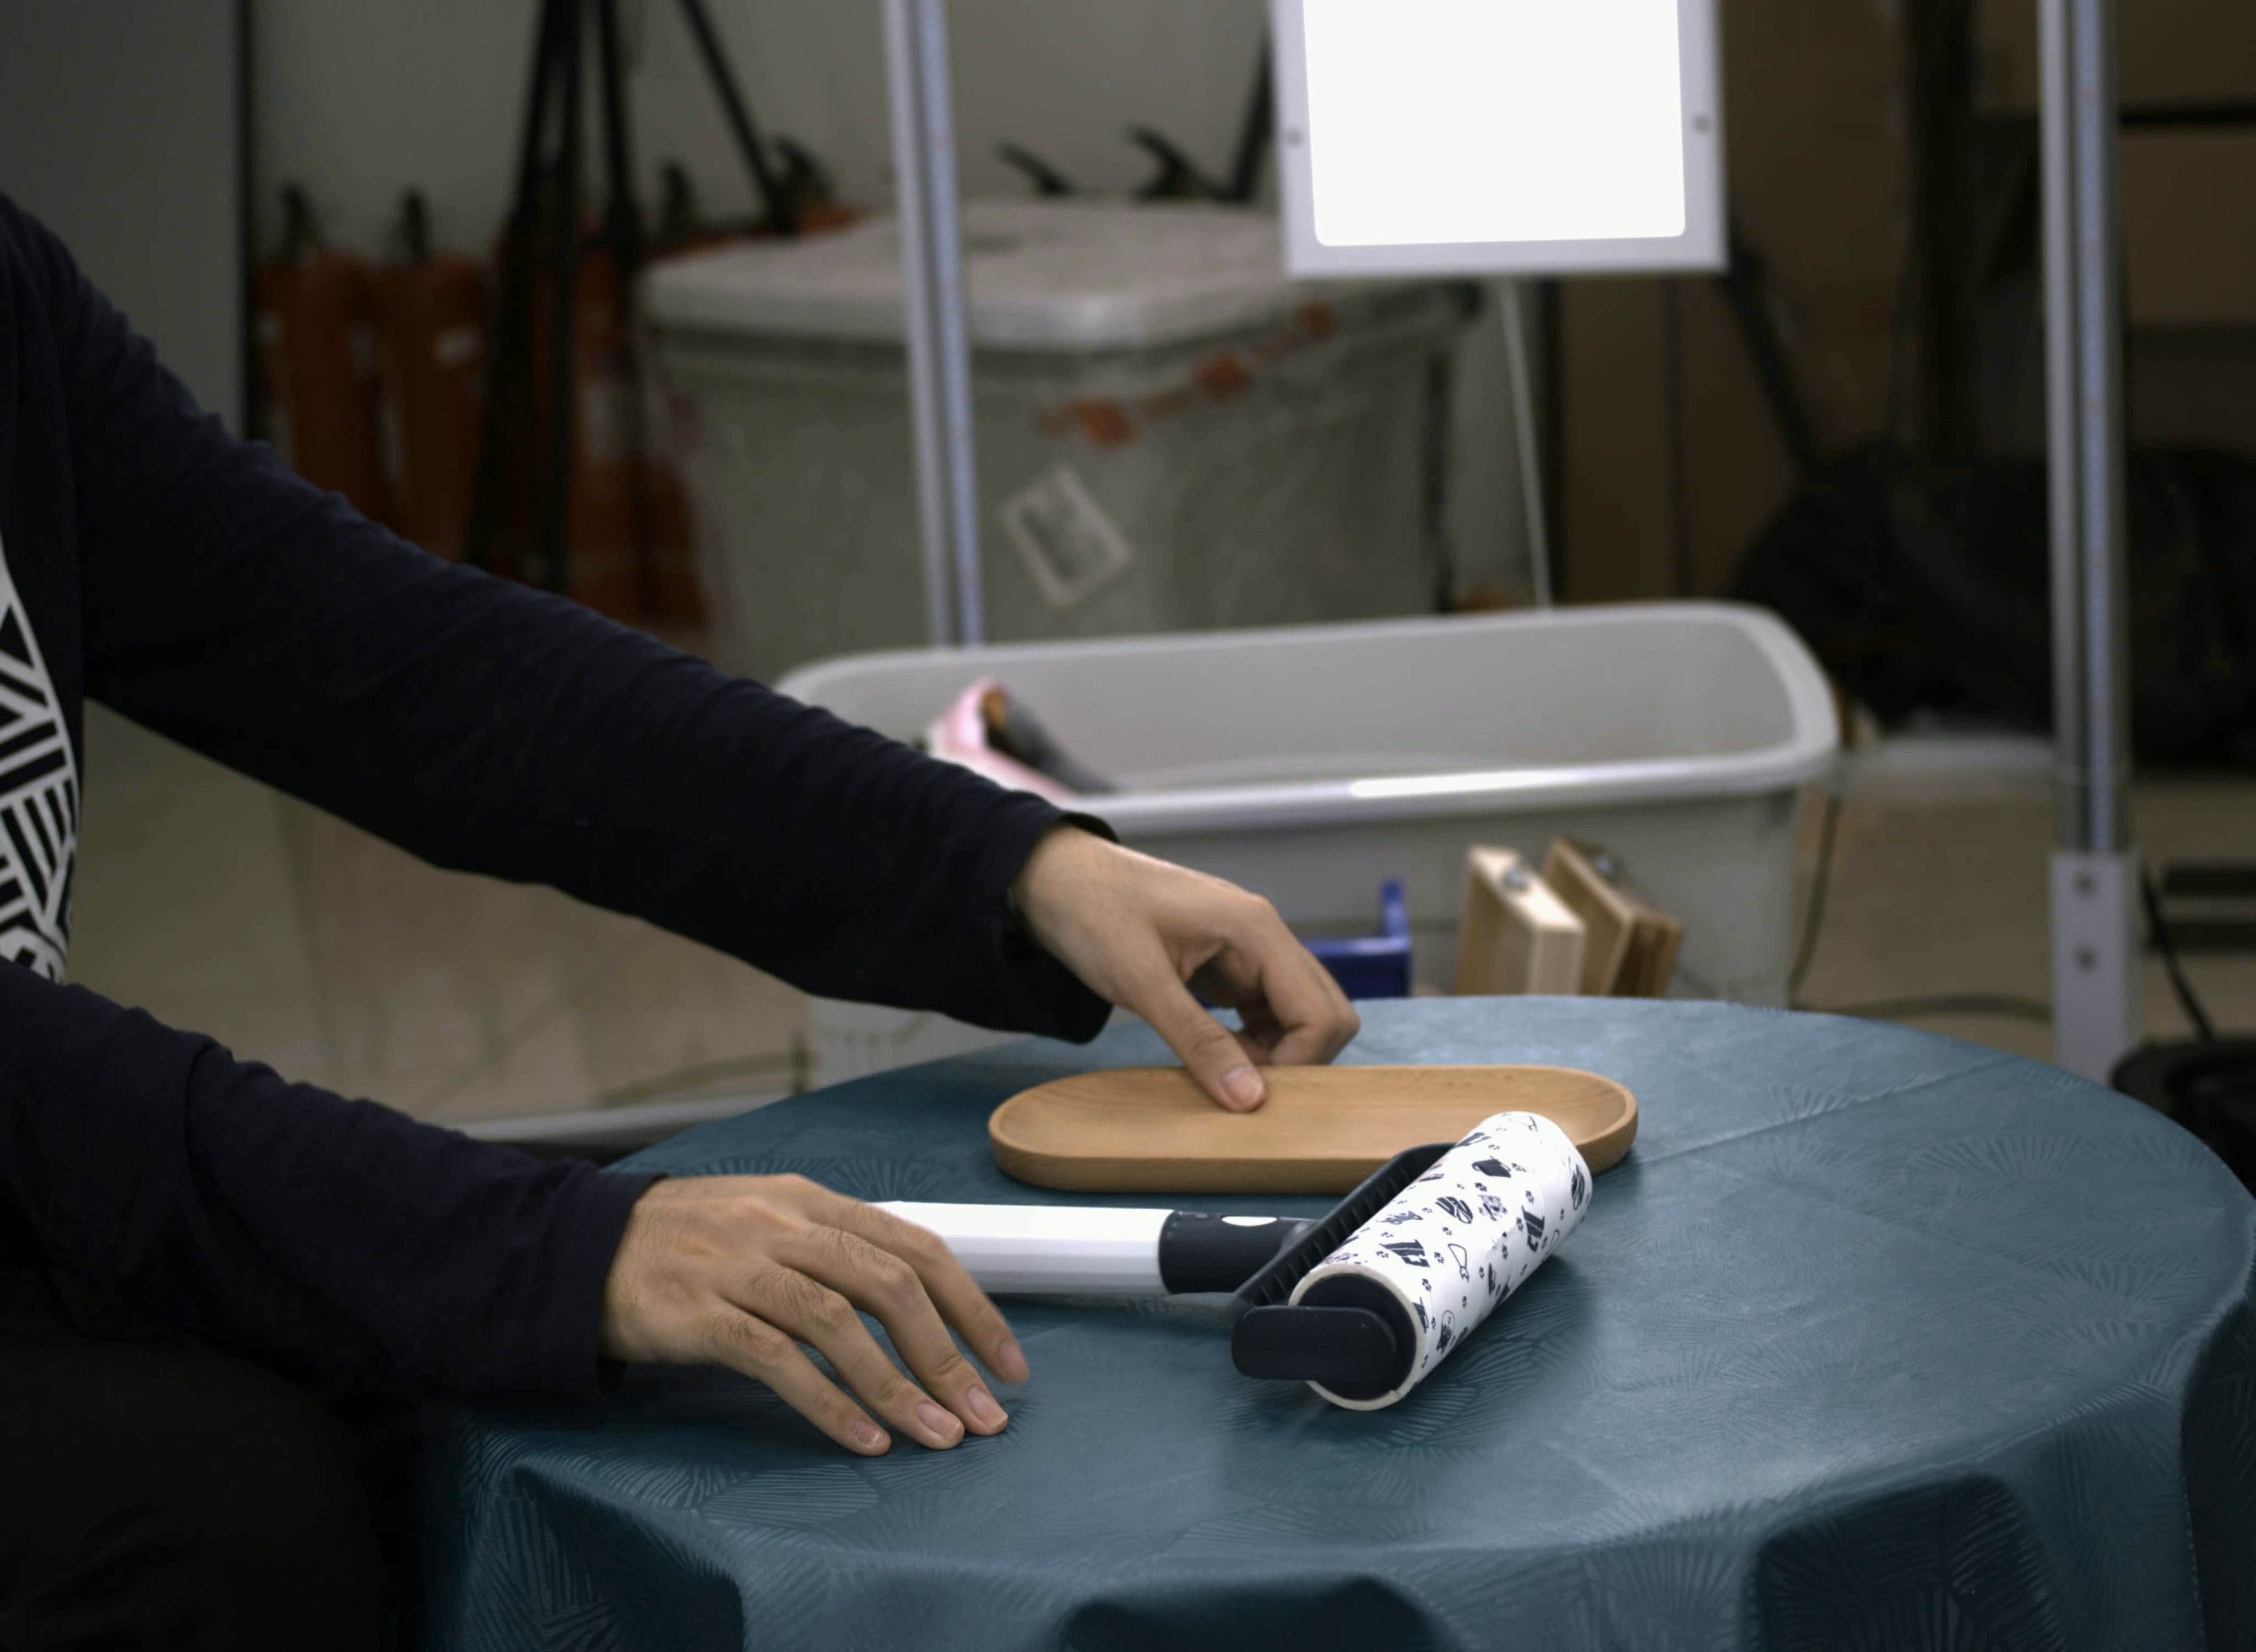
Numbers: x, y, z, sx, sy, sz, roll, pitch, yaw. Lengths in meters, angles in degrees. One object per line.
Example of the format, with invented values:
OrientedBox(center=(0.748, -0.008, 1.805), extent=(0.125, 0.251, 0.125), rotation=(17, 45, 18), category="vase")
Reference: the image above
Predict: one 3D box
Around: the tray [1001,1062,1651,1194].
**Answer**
OrientedBox(center=(0.069, 0.106, 1.927), extent=(0.233, 0.020, 0.100), rotation=(0, 18, 16), category="tray")

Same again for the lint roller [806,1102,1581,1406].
OrientedBox(center=(0.006, 0.137, 1.774), extent=(0.251, 0.050, 0.173), rotation=(-2, 14, 25), category="lint roller")
